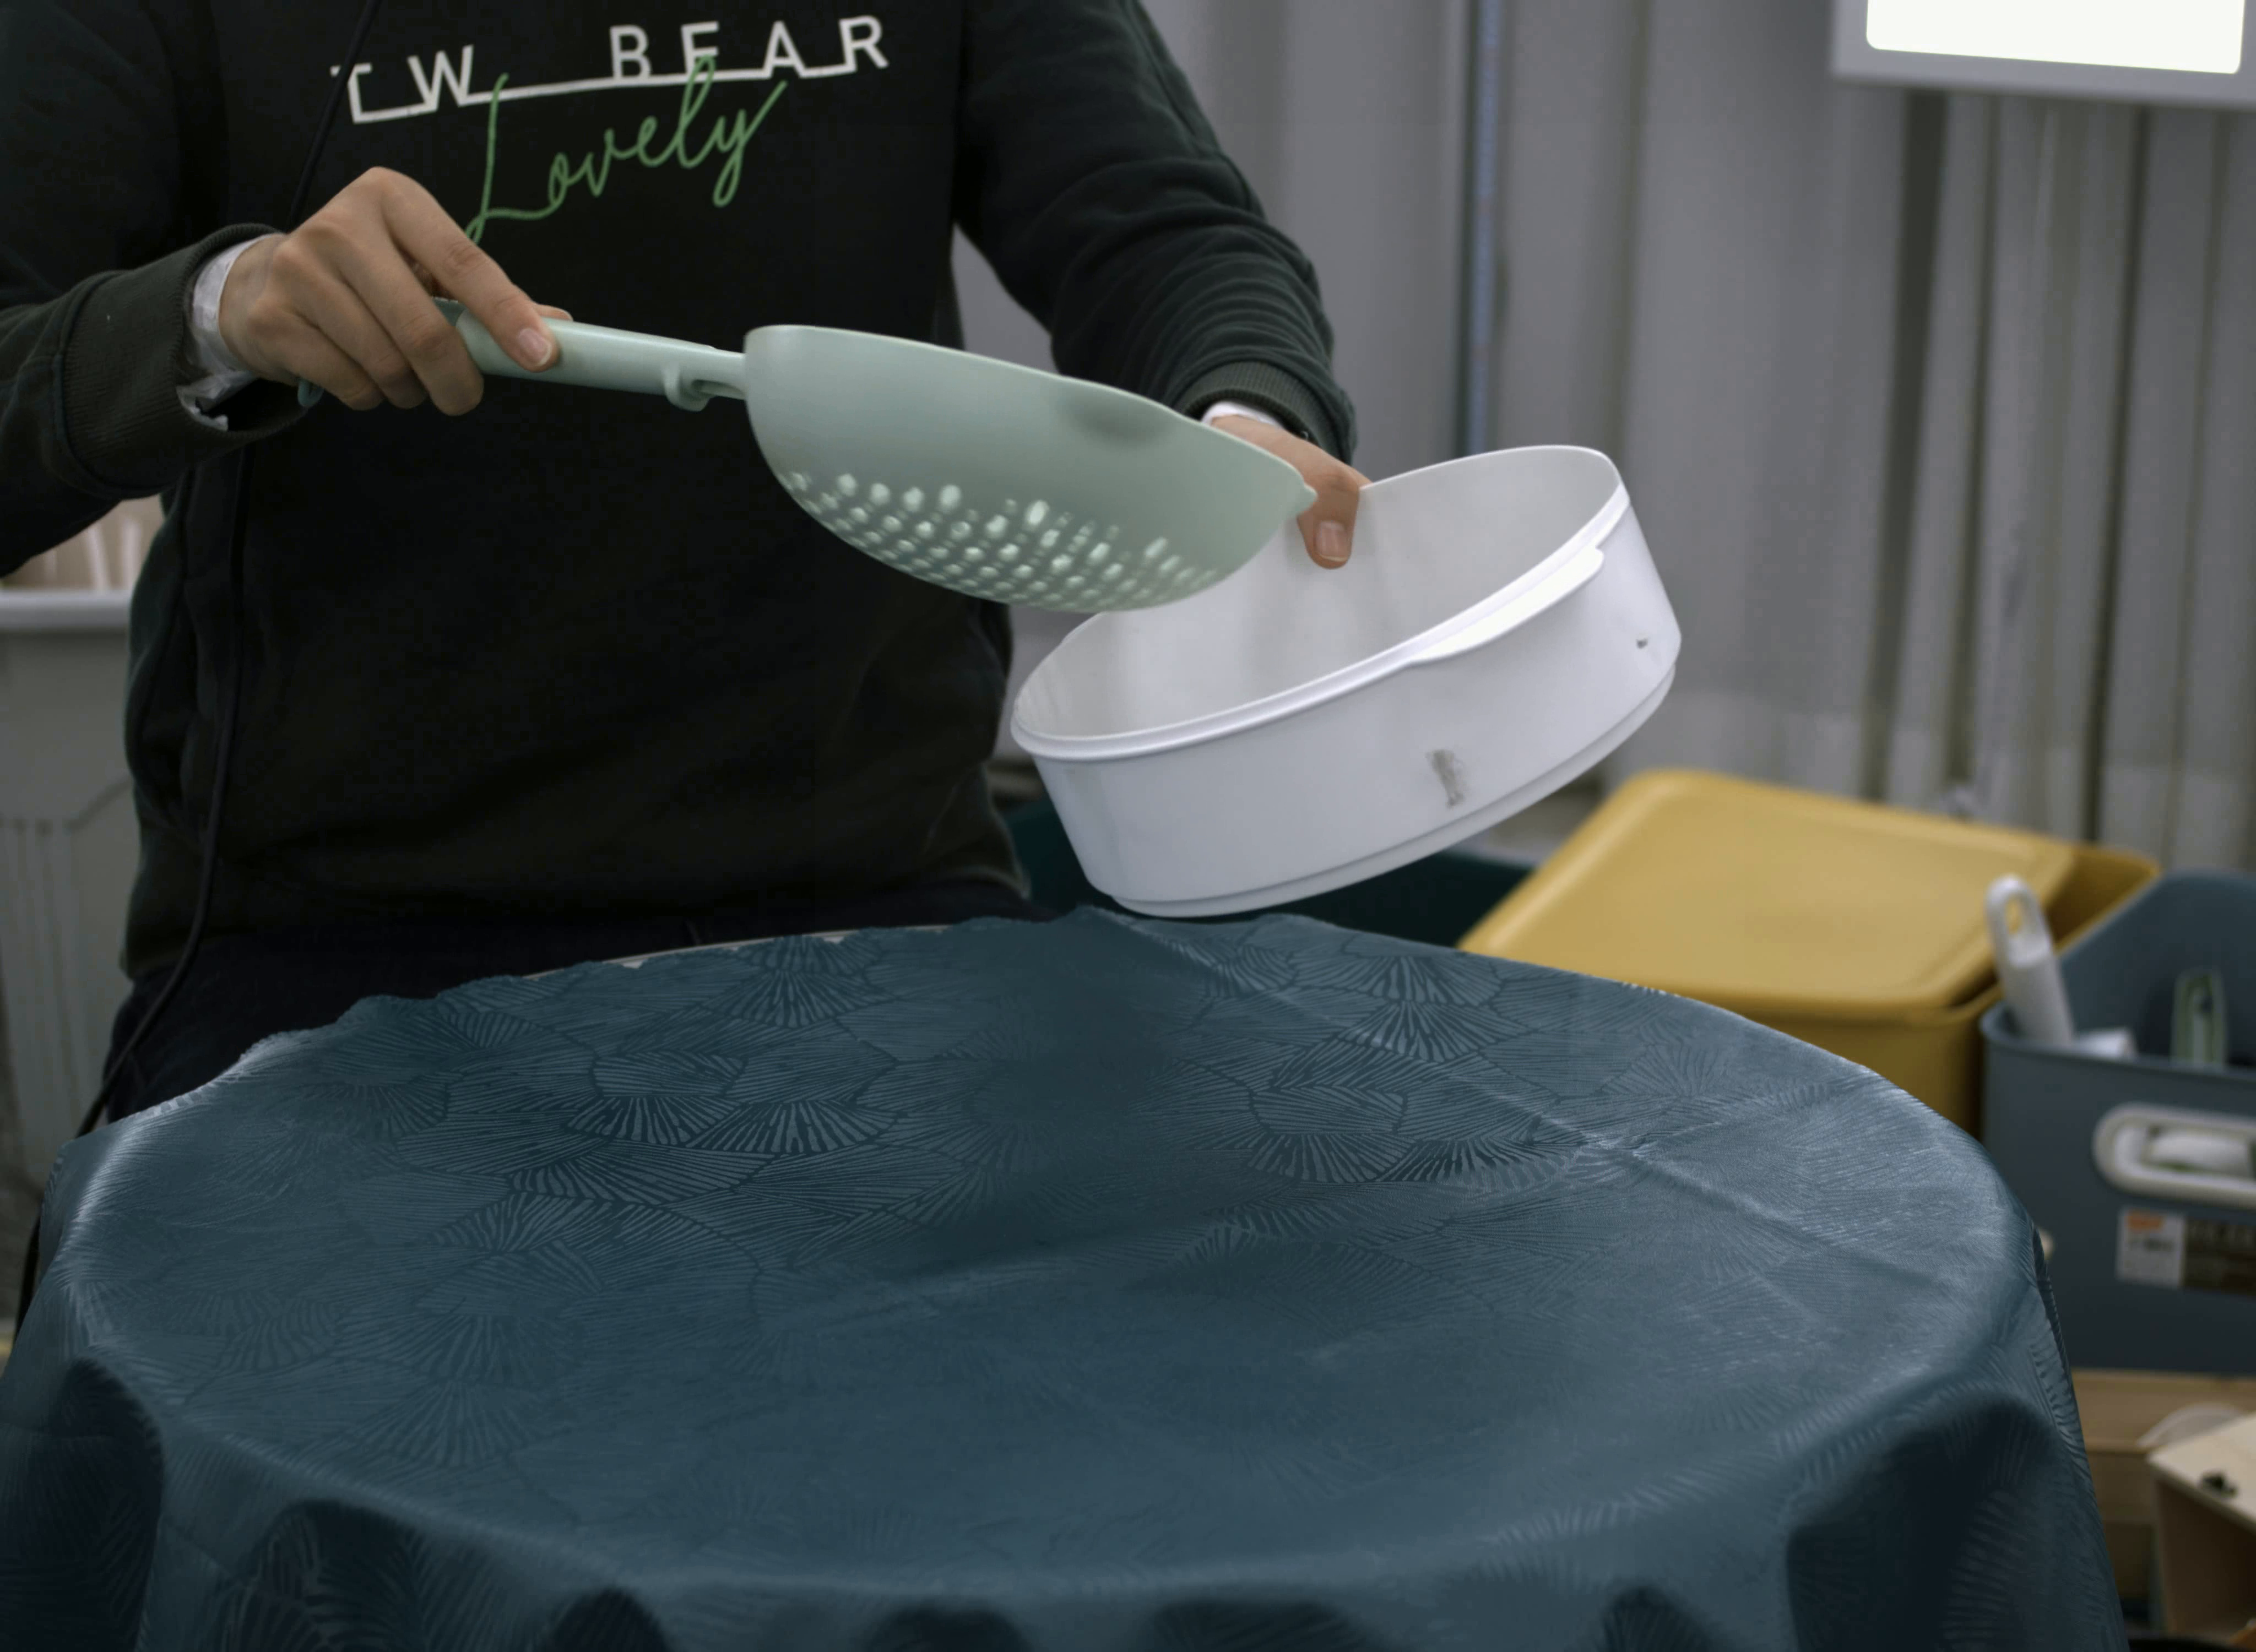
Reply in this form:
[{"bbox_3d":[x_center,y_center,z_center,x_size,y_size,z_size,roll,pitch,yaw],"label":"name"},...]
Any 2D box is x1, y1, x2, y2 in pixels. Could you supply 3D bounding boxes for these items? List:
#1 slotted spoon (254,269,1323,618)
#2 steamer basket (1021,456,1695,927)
[{"bbox_3d":[-0.115,-0.131,1.594,0.354,0.075,0.171,22,-1,26],"label":"slotted spoon"},{"bbox_3d":[0.071,-0.040,1.576,0.202,0.070,0.228,-31,18,-28],"label":"steamer basket"}]
